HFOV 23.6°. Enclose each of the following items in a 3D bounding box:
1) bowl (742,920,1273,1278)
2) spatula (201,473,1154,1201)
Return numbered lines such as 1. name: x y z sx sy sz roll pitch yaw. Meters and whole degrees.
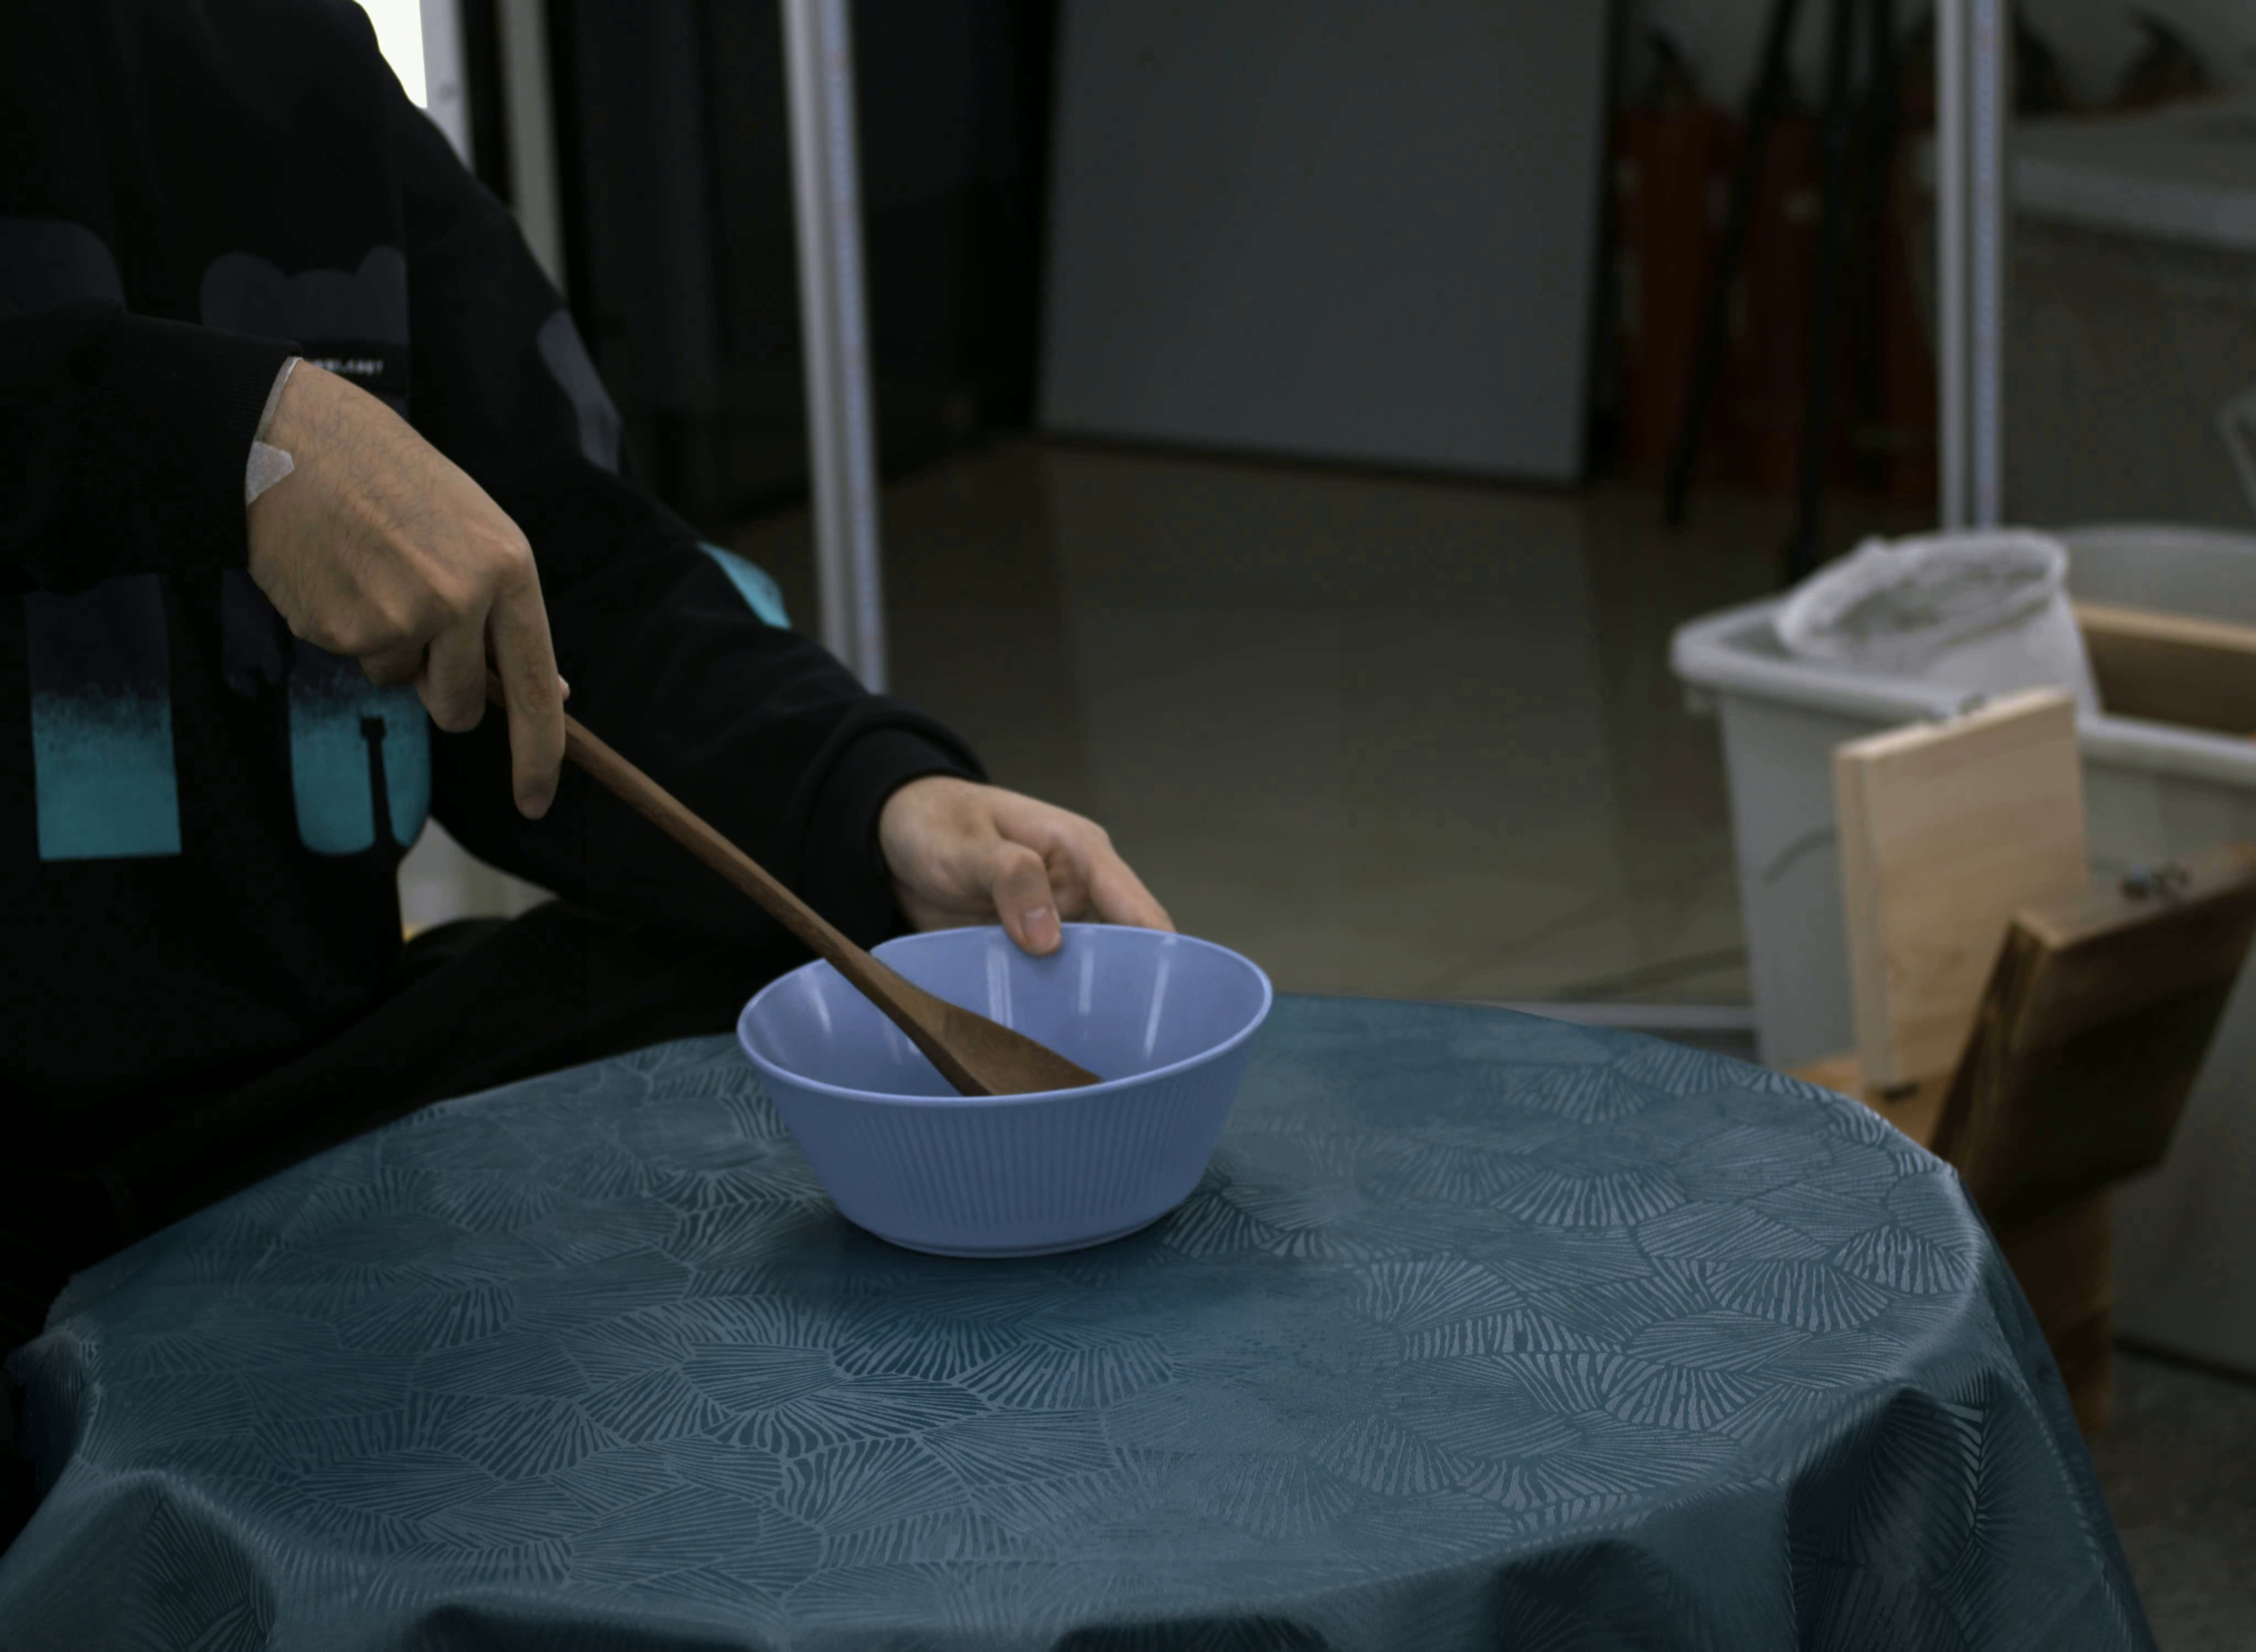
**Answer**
1. bowl: -0.036 0.093 1.753 0.174 0.071 0.176 -6 19 1
2. spatula: -0.139 0.003 1.741 0.384 0.016 0.096 38 11 -4
